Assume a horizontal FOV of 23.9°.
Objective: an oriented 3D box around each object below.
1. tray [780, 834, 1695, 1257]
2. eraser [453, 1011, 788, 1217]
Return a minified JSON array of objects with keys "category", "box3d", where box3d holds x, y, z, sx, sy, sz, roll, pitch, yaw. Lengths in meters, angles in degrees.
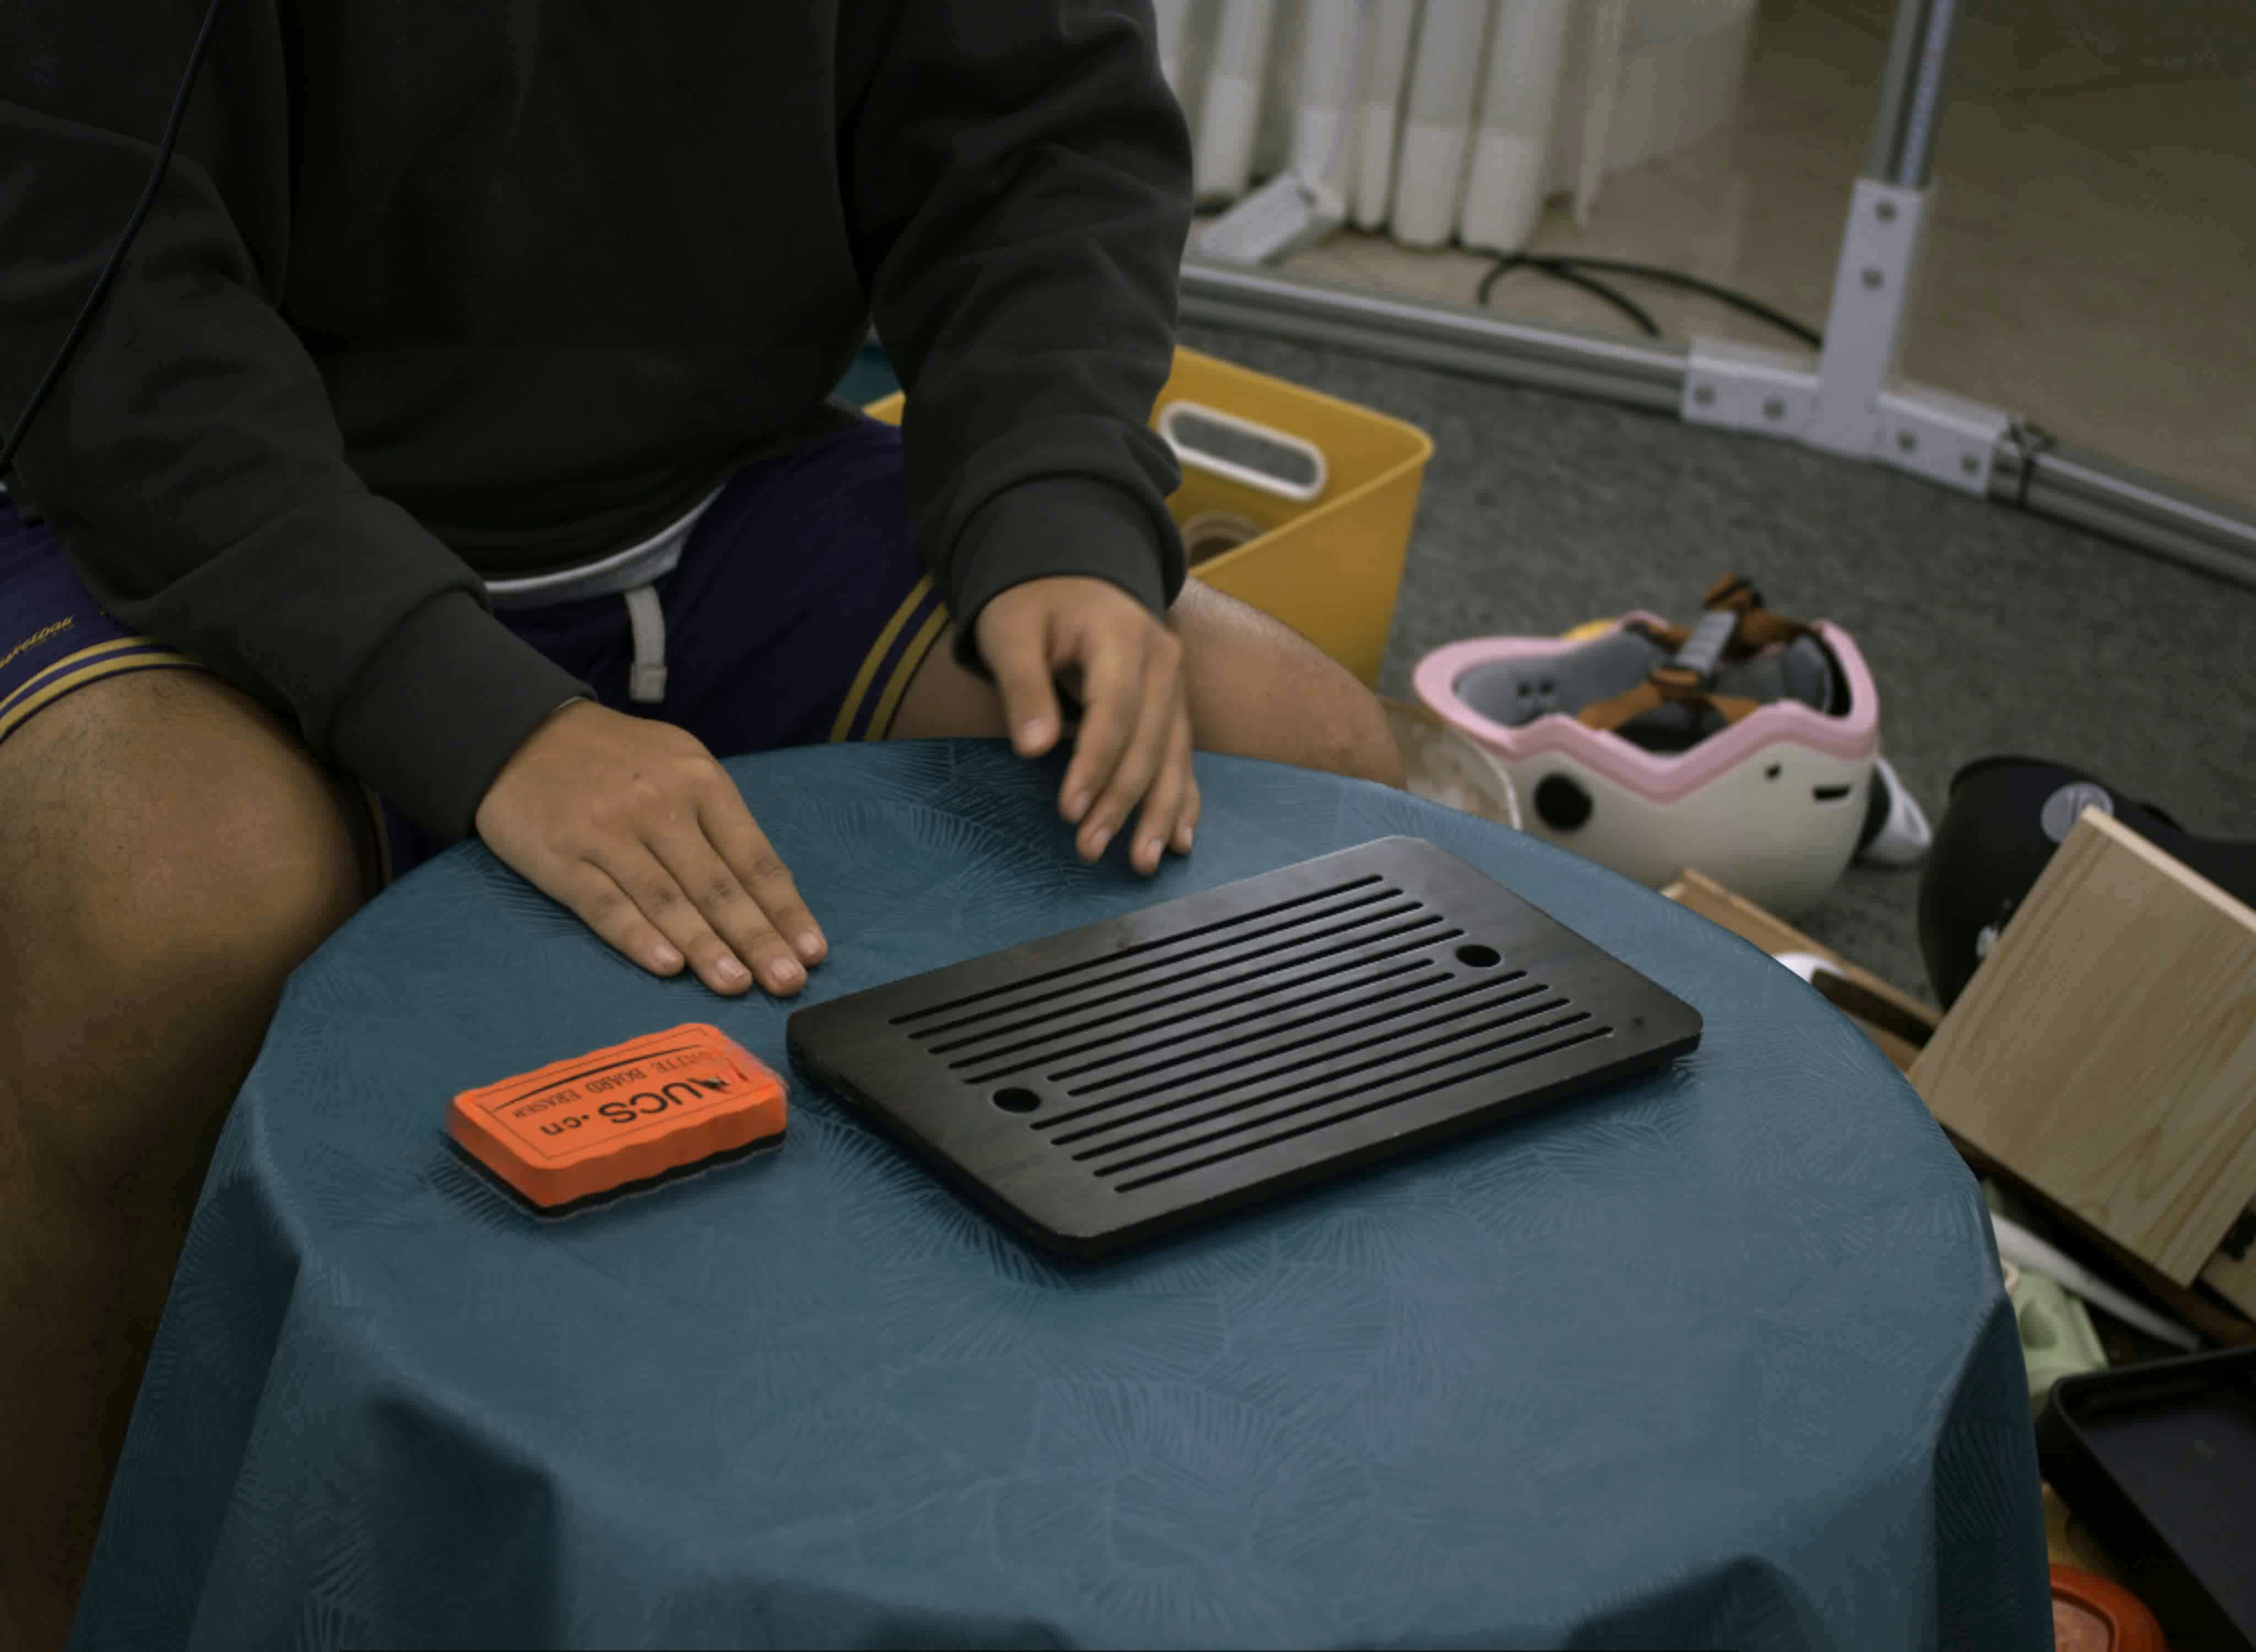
[{"category":"tray","box3d":[0.041,0.075,1.886,0.304,0.018,0.171,-16,35,-36]},{"category":"eraser","box3d":[-0.170,0.096,1.784,0.107,0.023,0.059,-18,36,-37]}]
